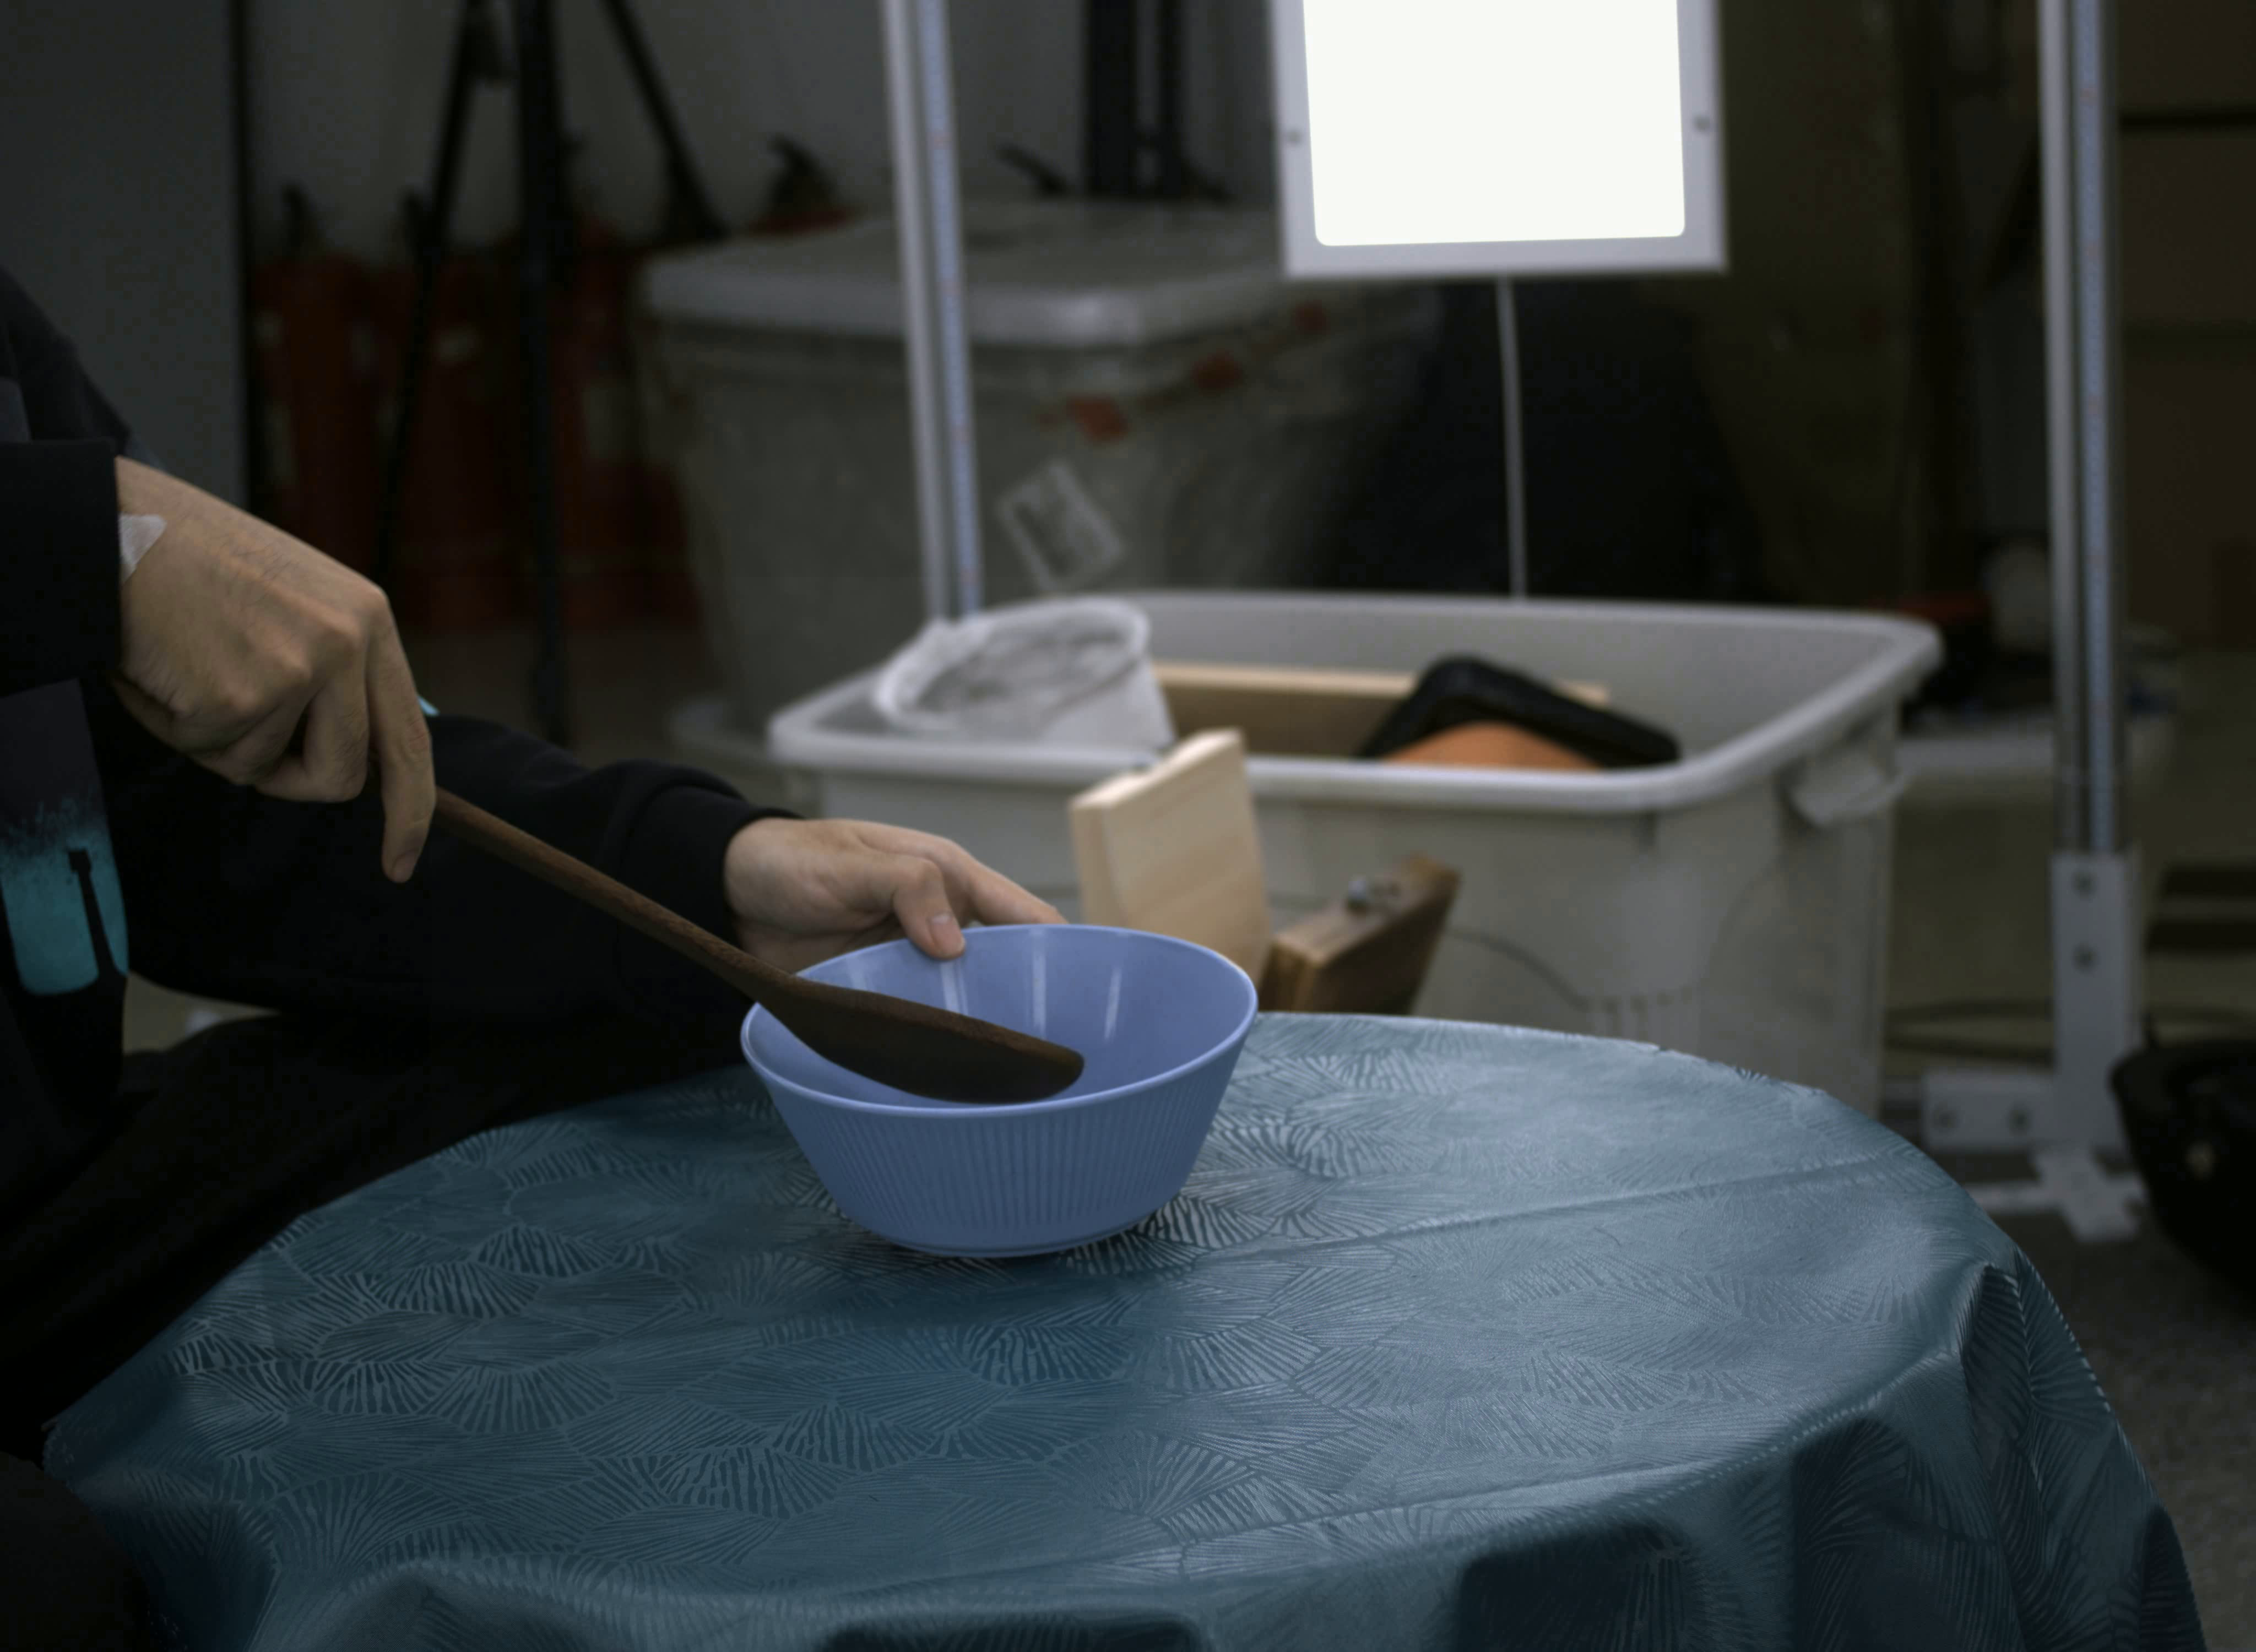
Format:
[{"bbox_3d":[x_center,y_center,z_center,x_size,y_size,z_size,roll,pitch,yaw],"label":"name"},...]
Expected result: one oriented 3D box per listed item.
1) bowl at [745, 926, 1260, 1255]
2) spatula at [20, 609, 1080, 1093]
[{"bbox_3d":[-0.039,0.093,1.866,0.176,0.070,0.176,-6,17,1],"label":"bowl"},{"bbox_3d":[-0.188,0.014,1.810,0.380,0.015,0.098,27,-22,-20],"label":"spatula"}]
